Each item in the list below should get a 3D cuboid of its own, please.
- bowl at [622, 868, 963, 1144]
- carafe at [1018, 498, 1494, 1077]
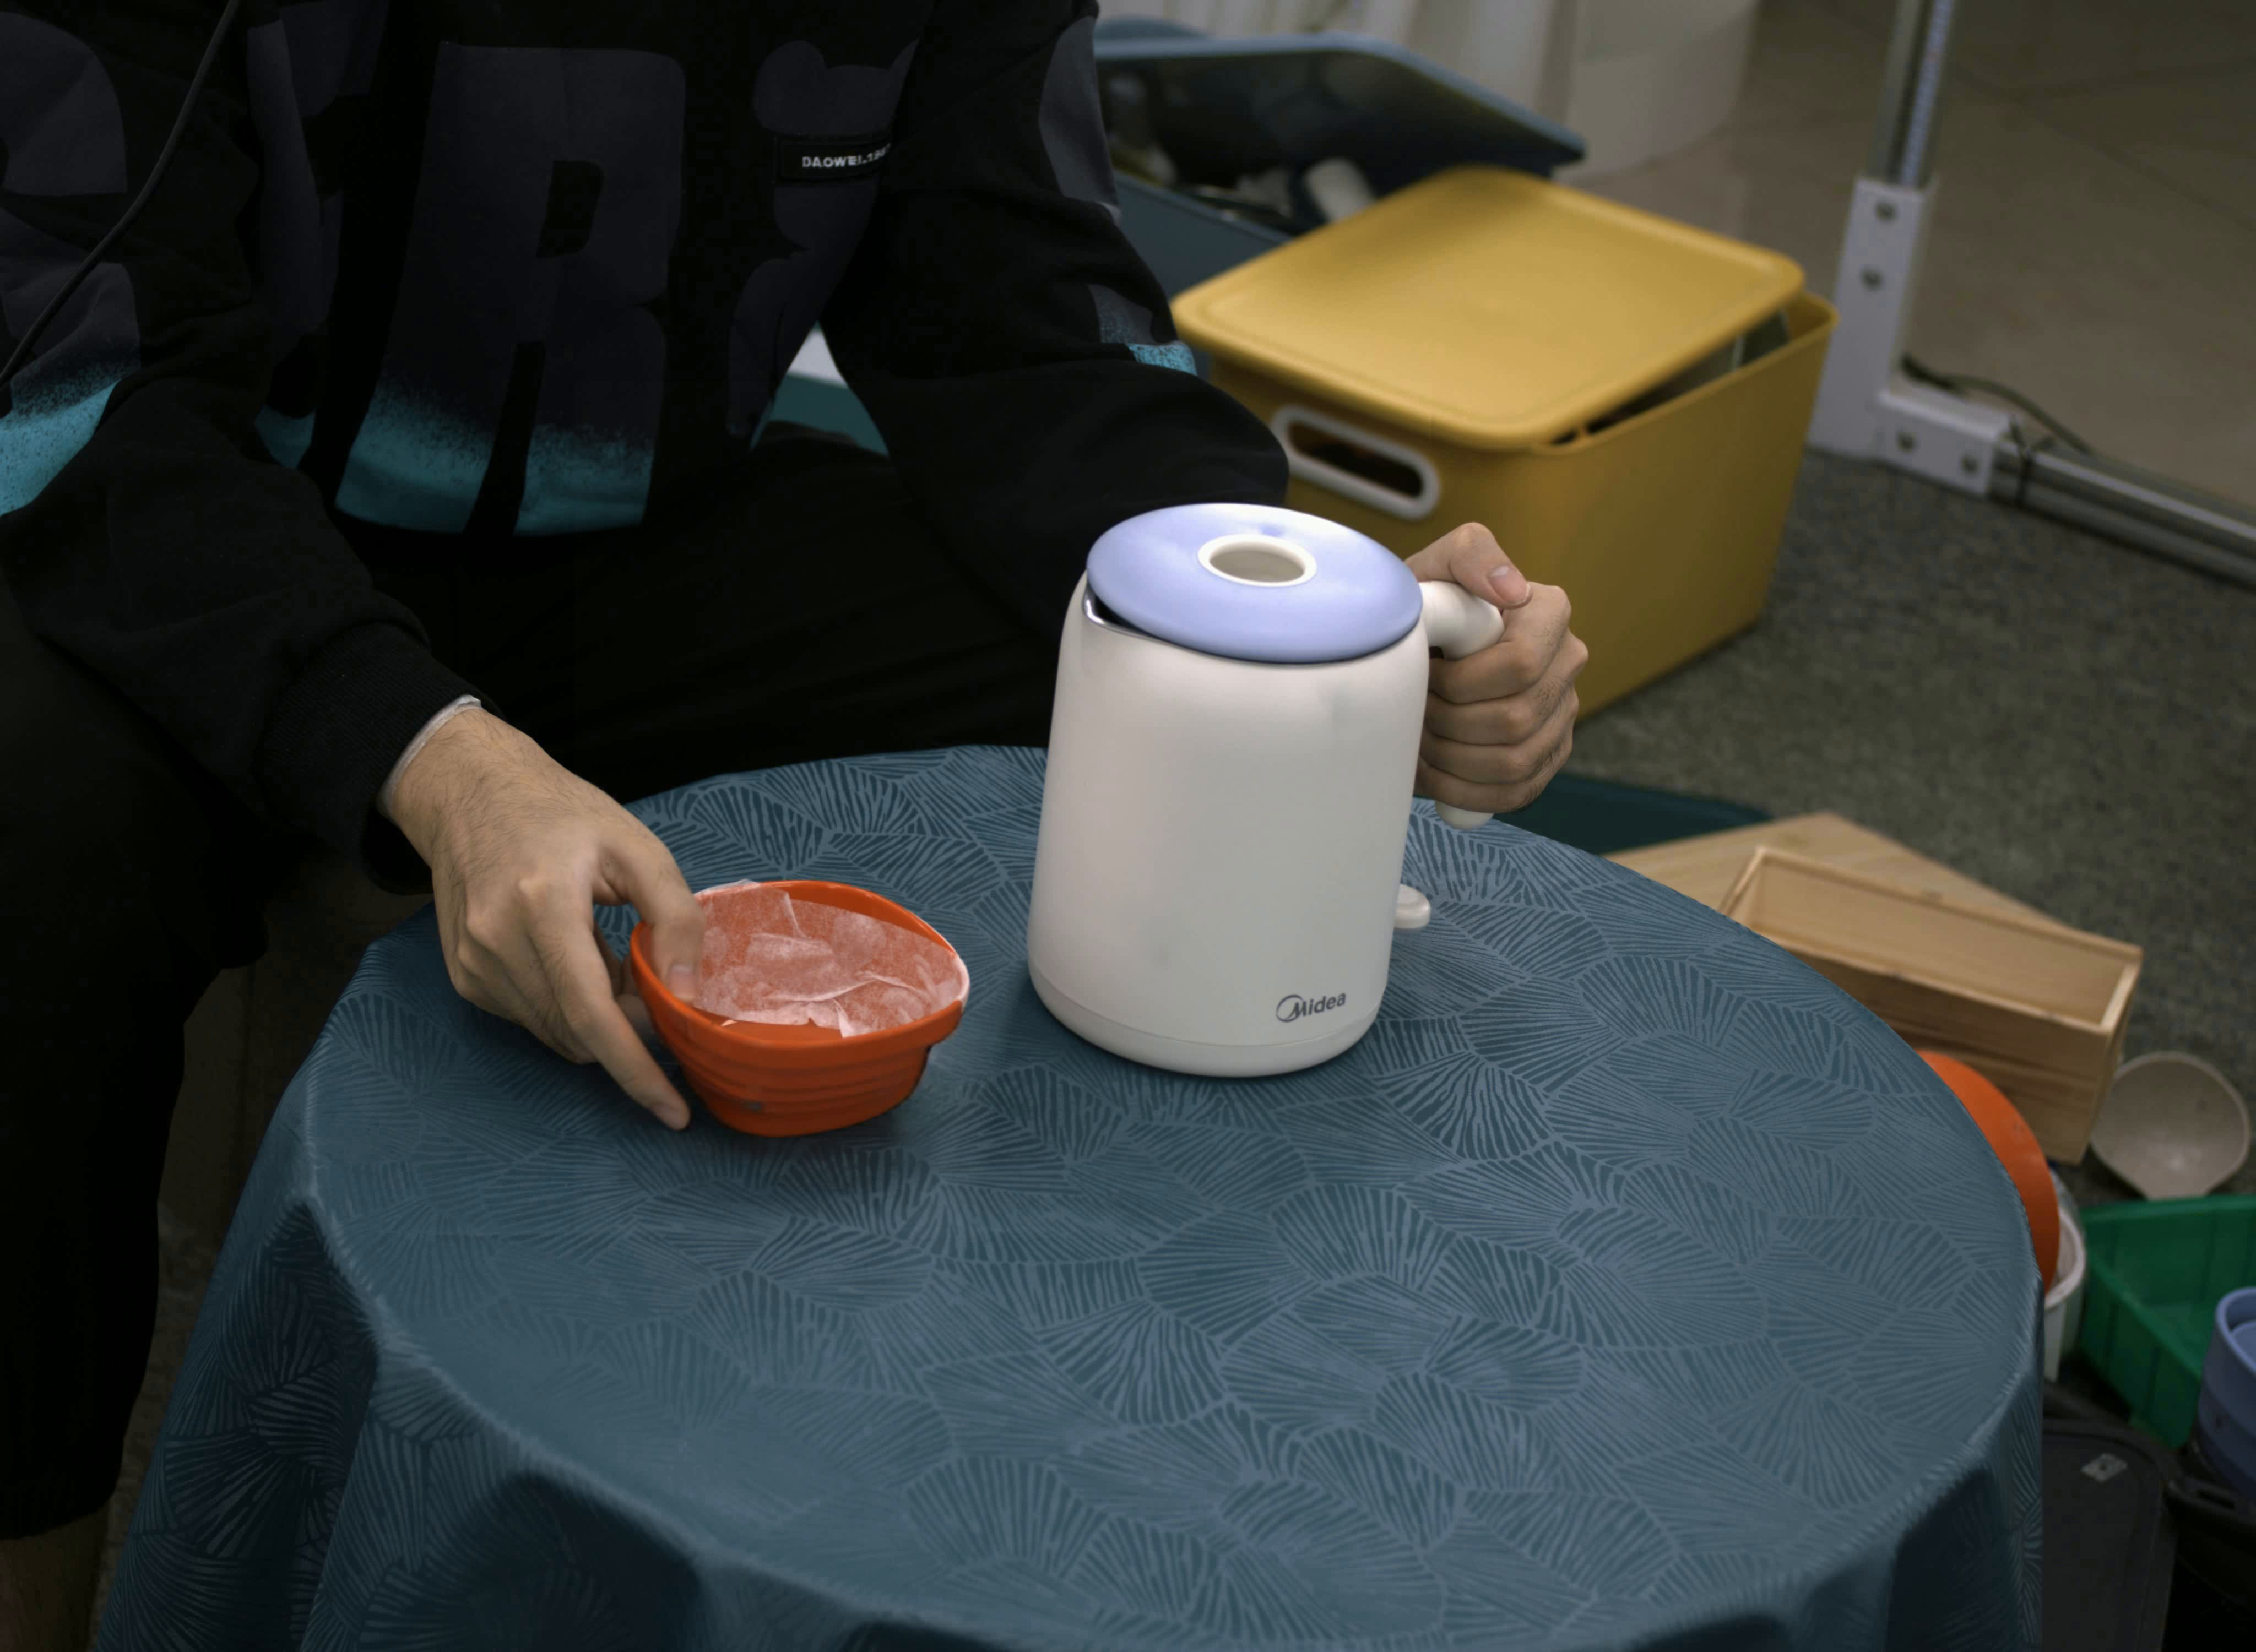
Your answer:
[{"bbox_3d":[-0.116,0.067,1.828,0.118,0.051,0.120,3,33,-2],"label":"bowl"},{"bbox_3d":[0.054,-0.017,1.901,0.190,0.182,0.133,-10,32,-34],"label":"carafe"}]
